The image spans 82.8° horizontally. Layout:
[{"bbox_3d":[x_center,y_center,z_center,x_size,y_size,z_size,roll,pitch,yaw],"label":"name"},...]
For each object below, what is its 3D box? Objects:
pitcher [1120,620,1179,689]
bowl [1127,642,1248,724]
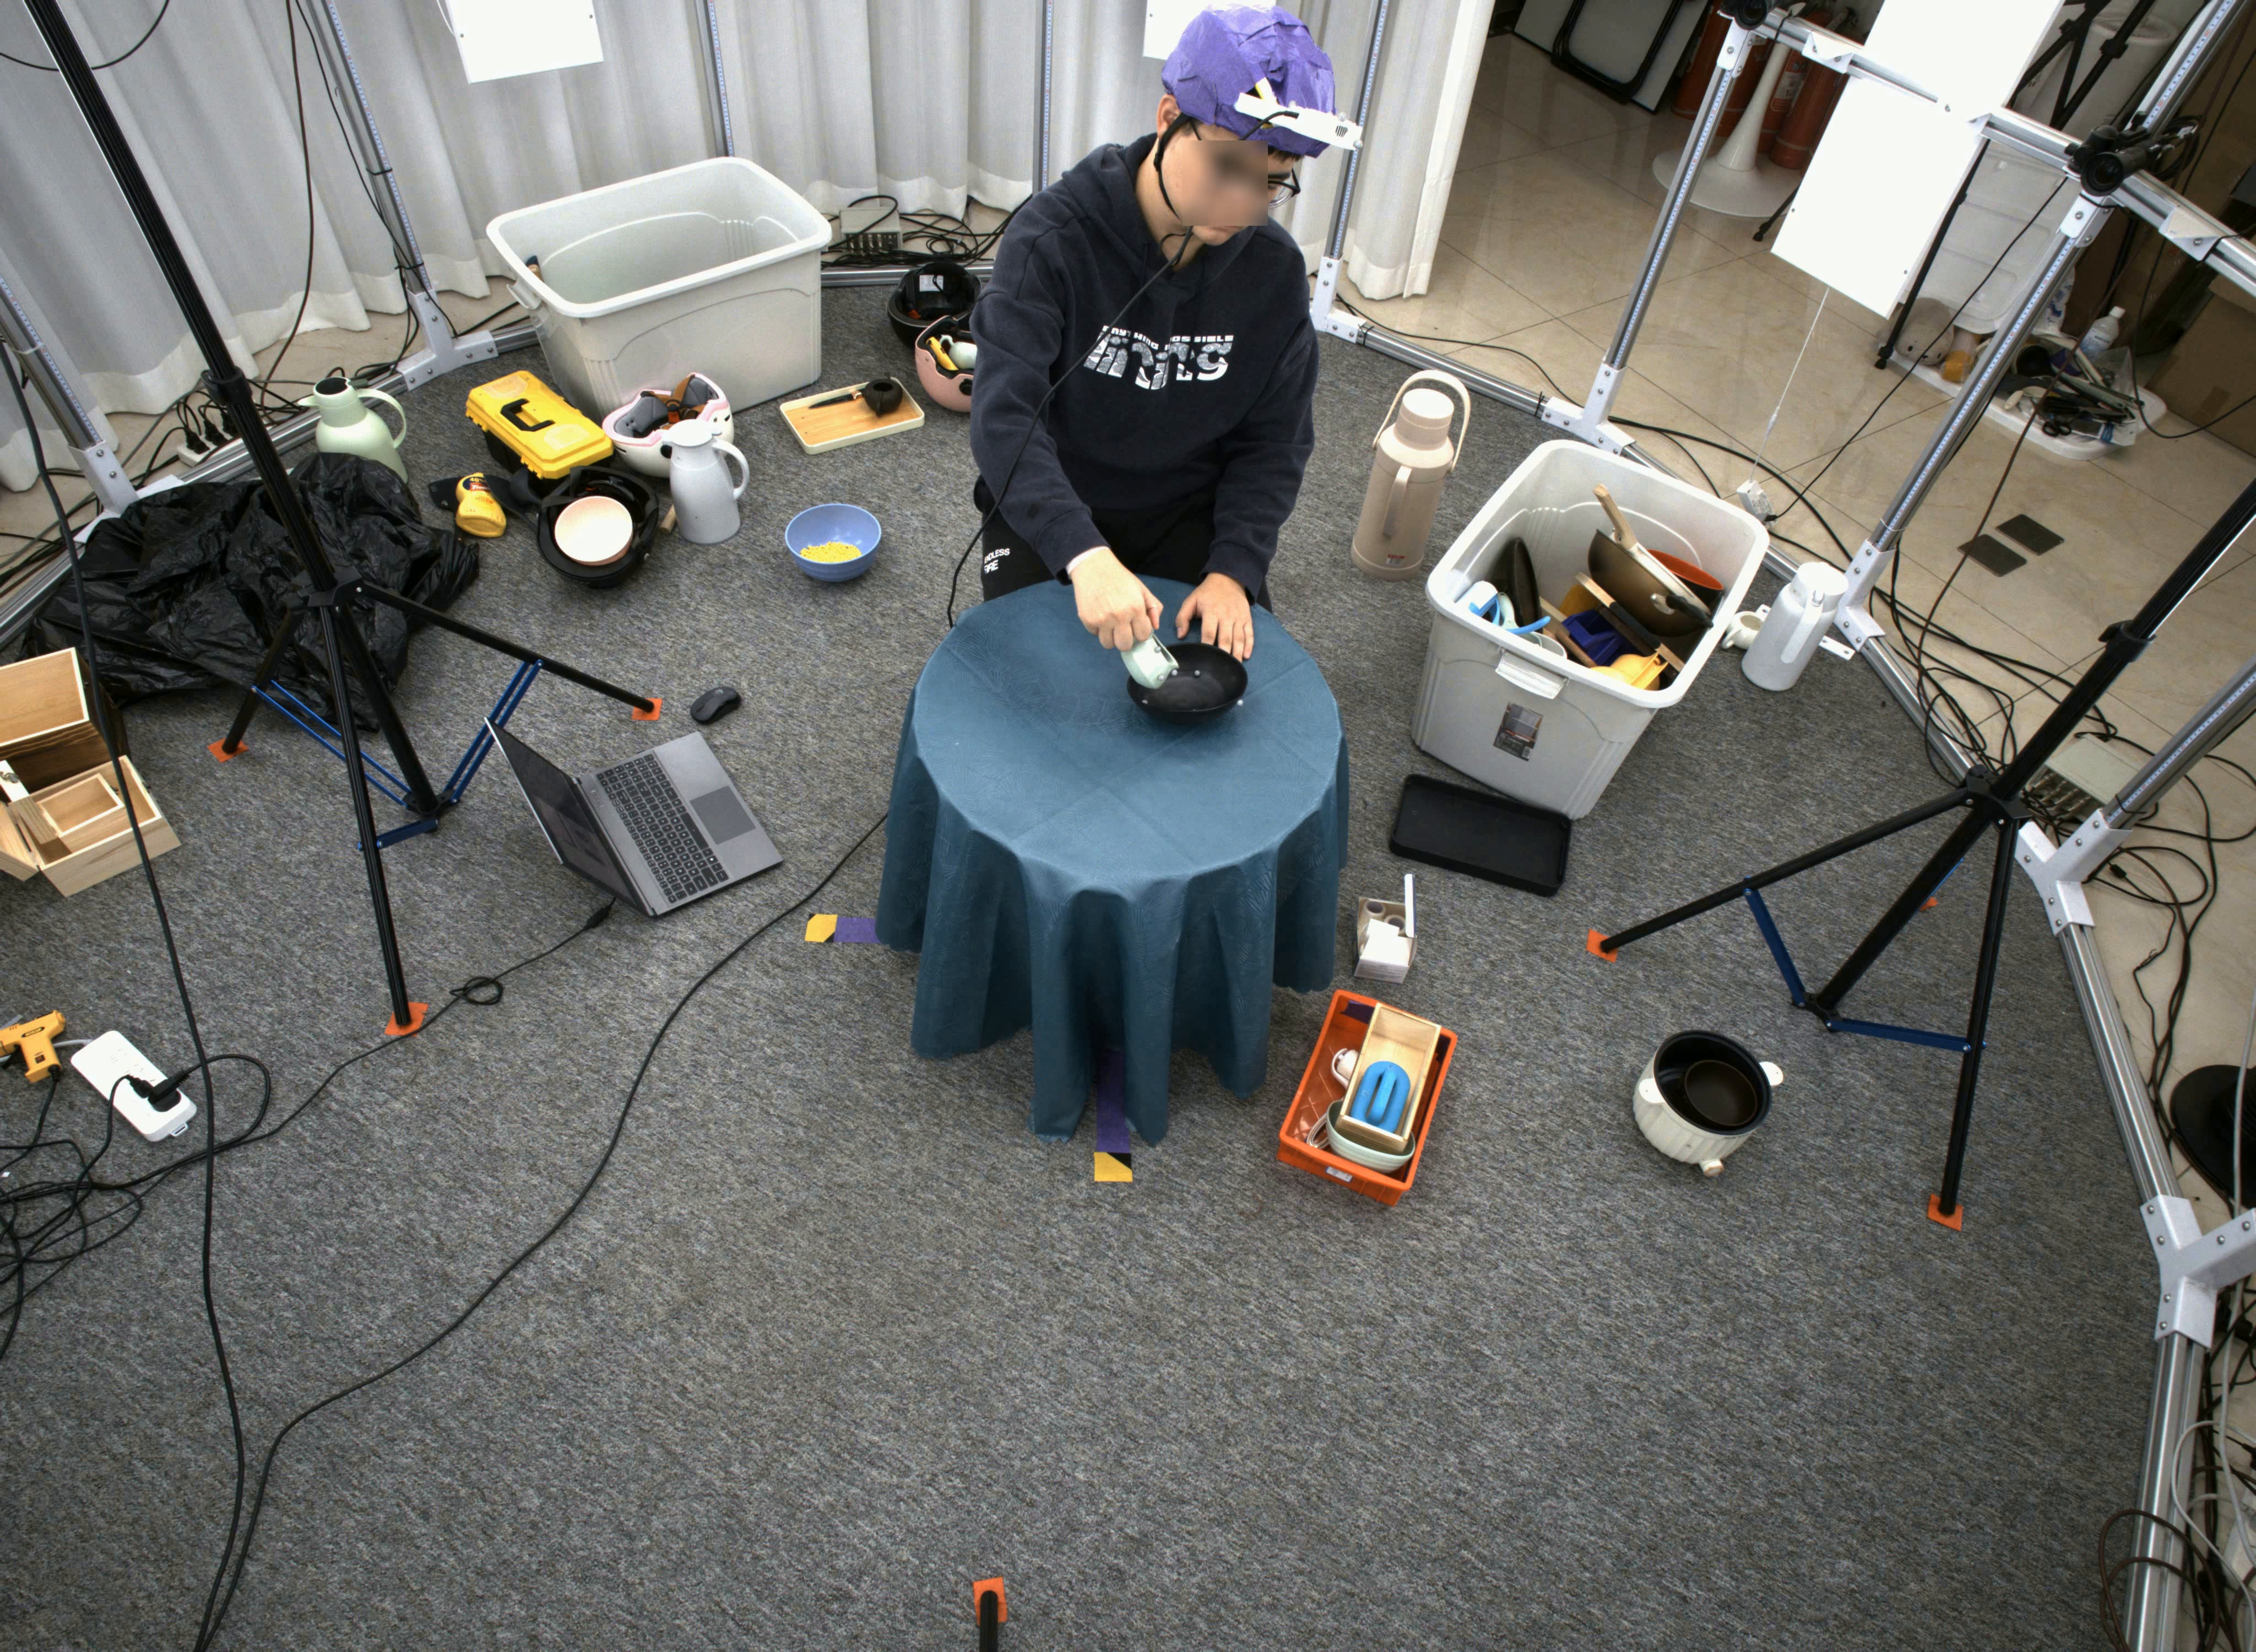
[{"bbox_3d":[0.020,-0.231,1.710,0.060,0.106,0.088,-31,48,13],"label":"pitcher"},{"bbox_3d":[0.083,-0.187,1.794,0.170,0.065,0.141,-9,50,-11],"label":"bowl"}]
